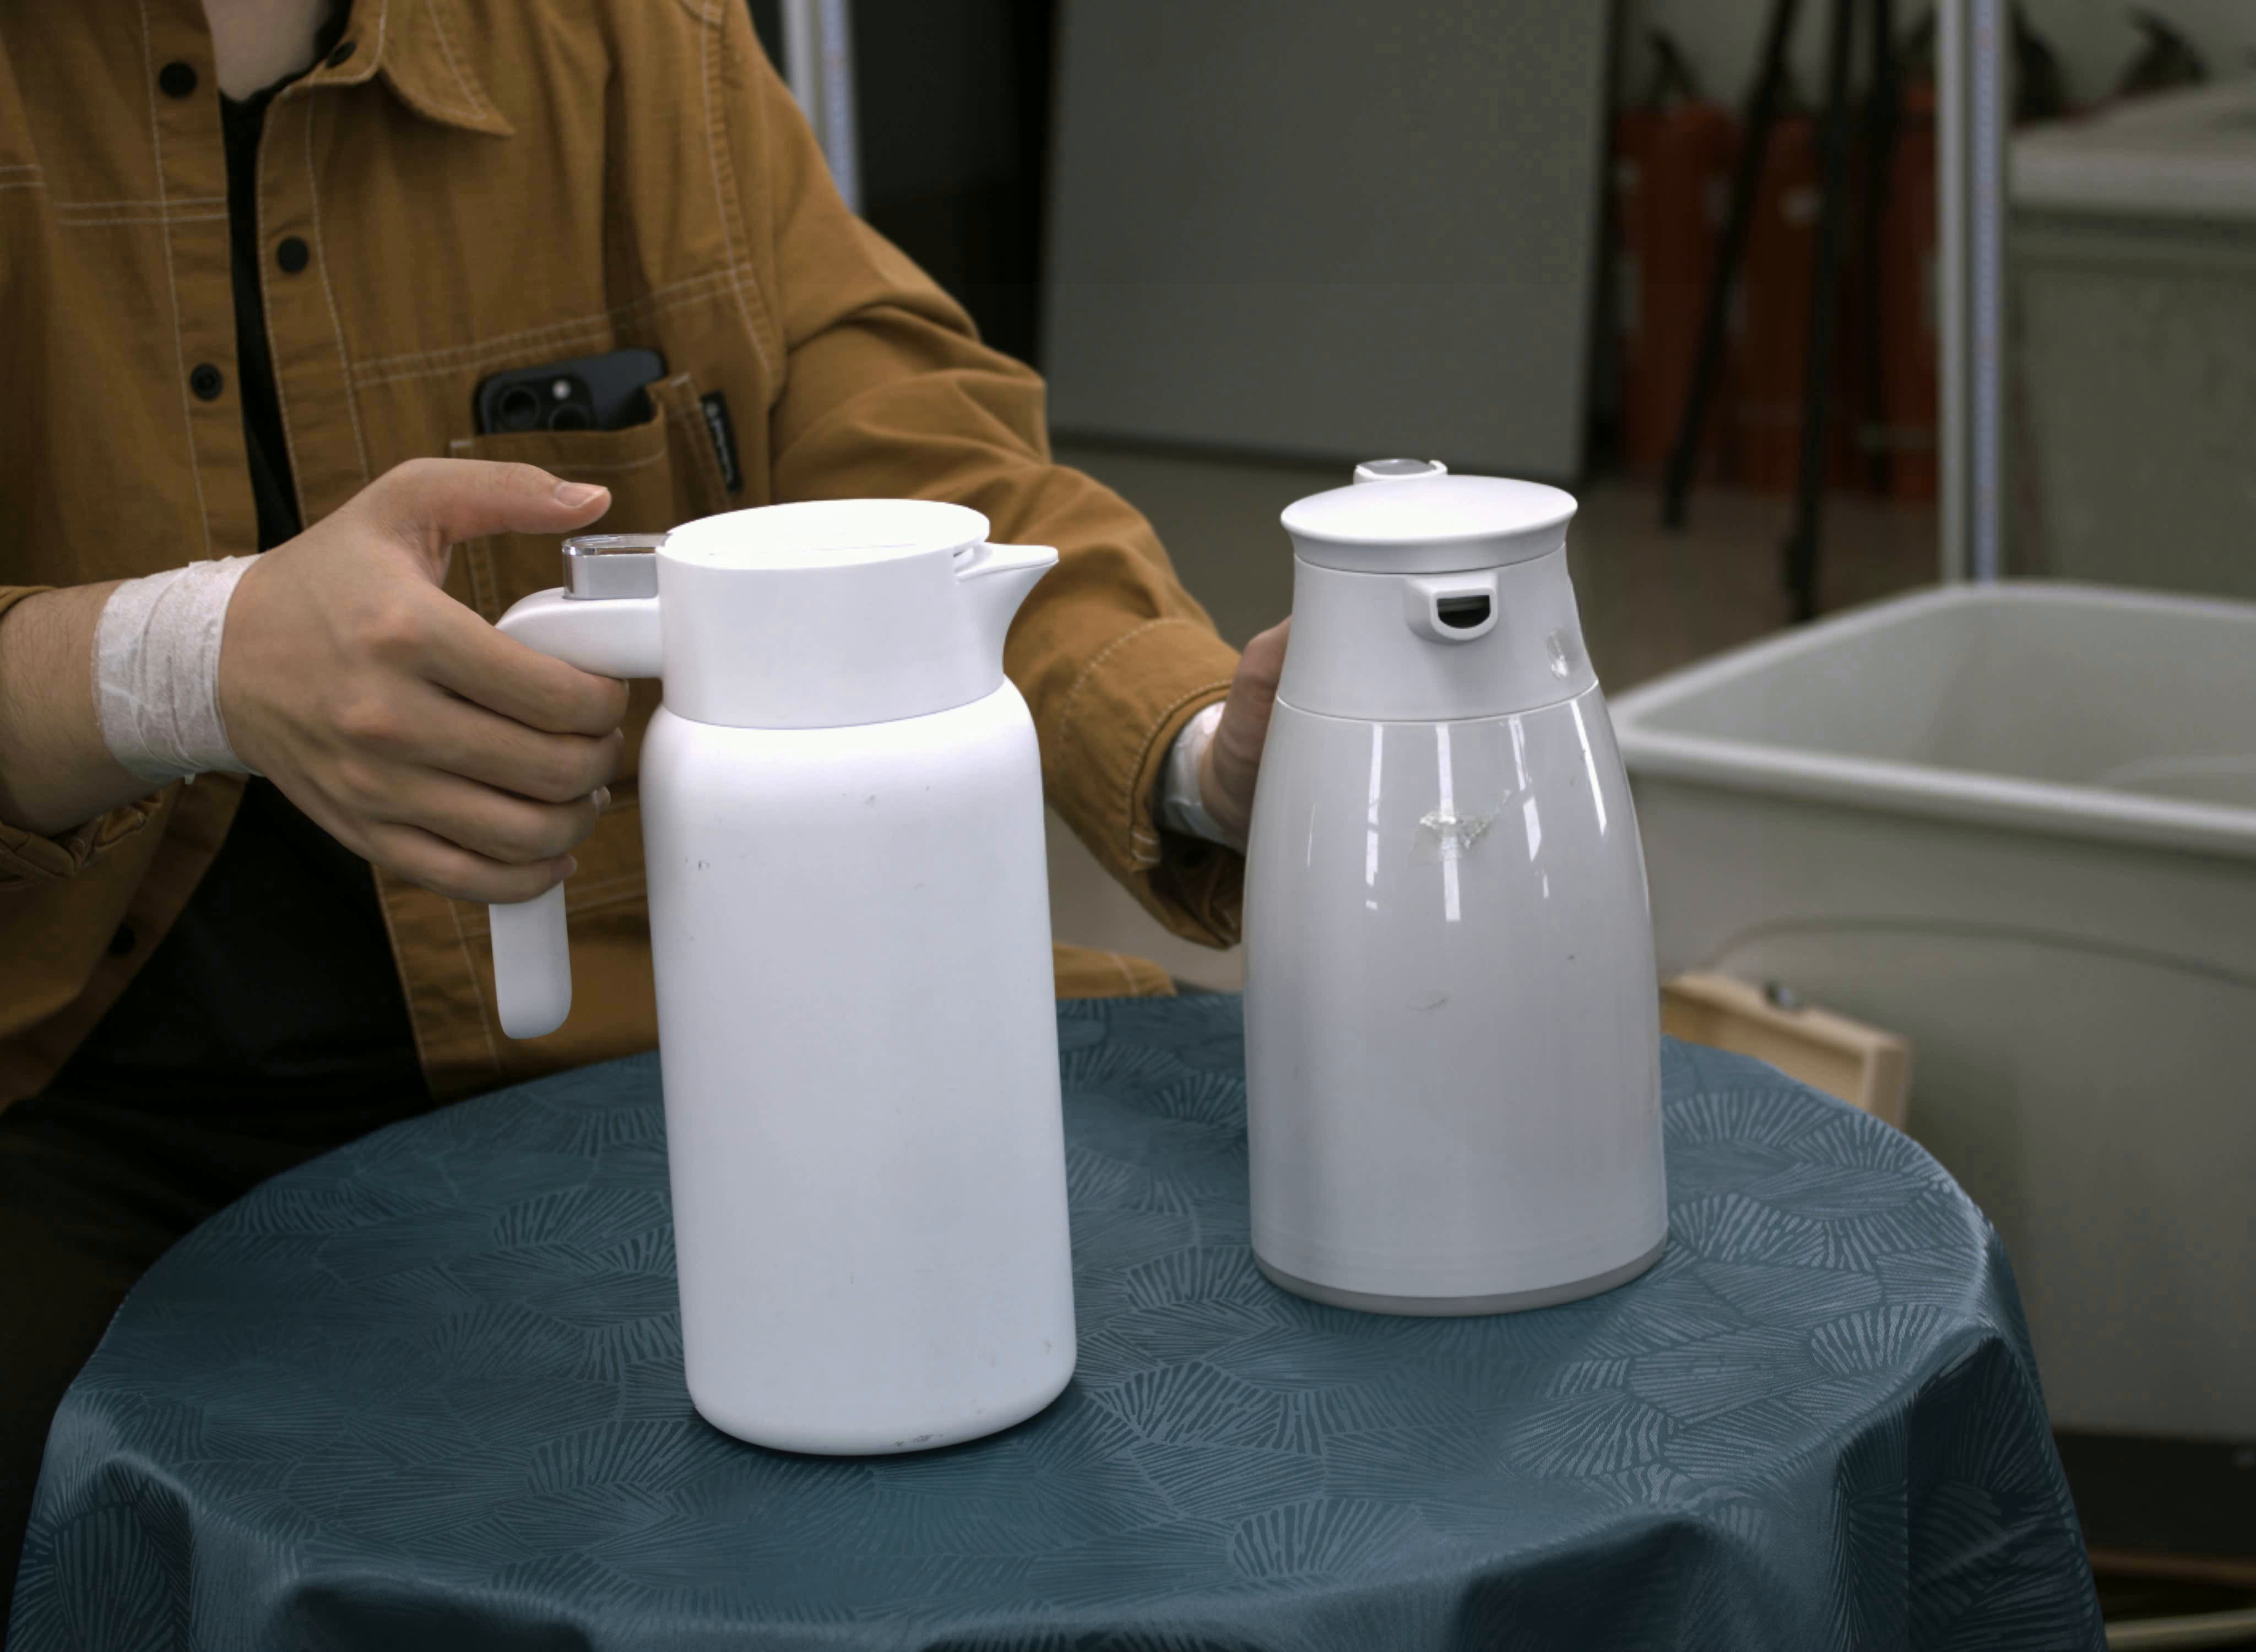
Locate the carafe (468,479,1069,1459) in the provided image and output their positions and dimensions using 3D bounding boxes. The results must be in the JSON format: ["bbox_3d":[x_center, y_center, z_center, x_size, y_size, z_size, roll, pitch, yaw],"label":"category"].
[{"bbox_3d":[-0.098,0.041,1.567,0.171,0.272,0.124,-3,15,5],"label":"carafe"}]

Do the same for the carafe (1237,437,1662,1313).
[{"bbox_3d":[0.093,0.007,1.684,0.130,0.251,0.168,-5,13,-6],"label":"carafe"}]
